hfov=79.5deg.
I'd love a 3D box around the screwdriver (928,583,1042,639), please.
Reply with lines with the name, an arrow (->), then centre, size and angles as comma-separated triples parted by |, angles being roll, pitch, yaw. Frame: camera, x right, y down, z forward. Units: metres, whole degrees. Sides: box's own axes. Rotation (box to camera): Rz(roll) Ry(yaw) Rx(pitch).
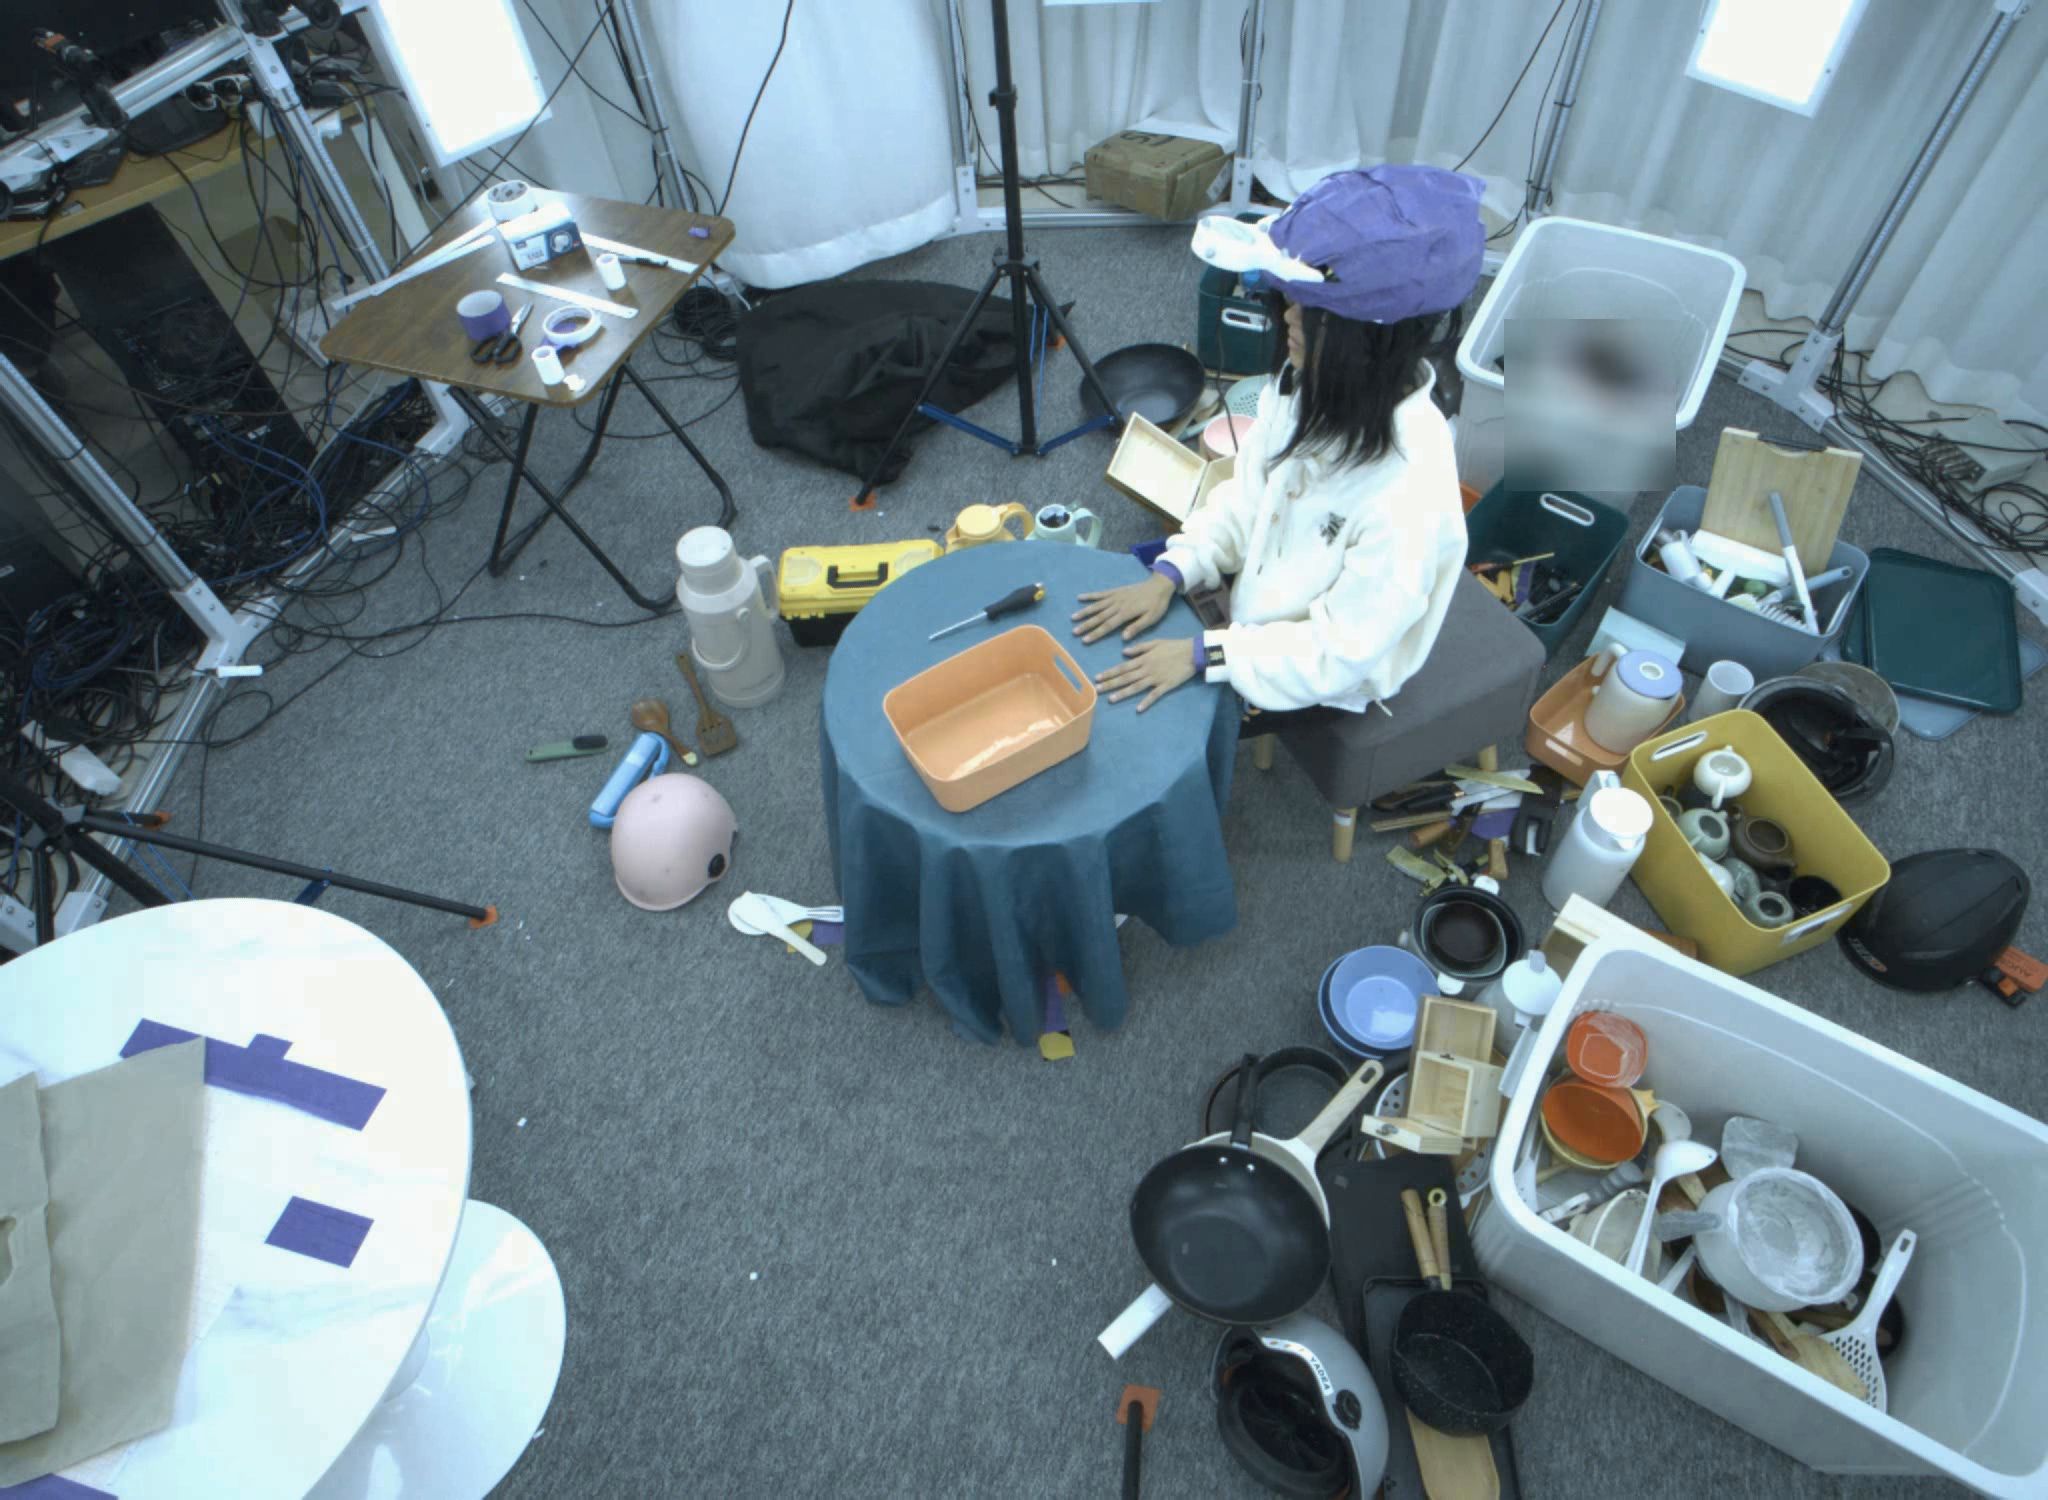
screwdriver -> -0.063, -0.218, 1.932 | 0.197, 0.032, 0.031 | -23, 57, -9

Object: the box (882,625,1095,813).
box -> -0.045, -0.041, 1.754 | 0.275, 0.104, 0.195 | -29, 58, -16
